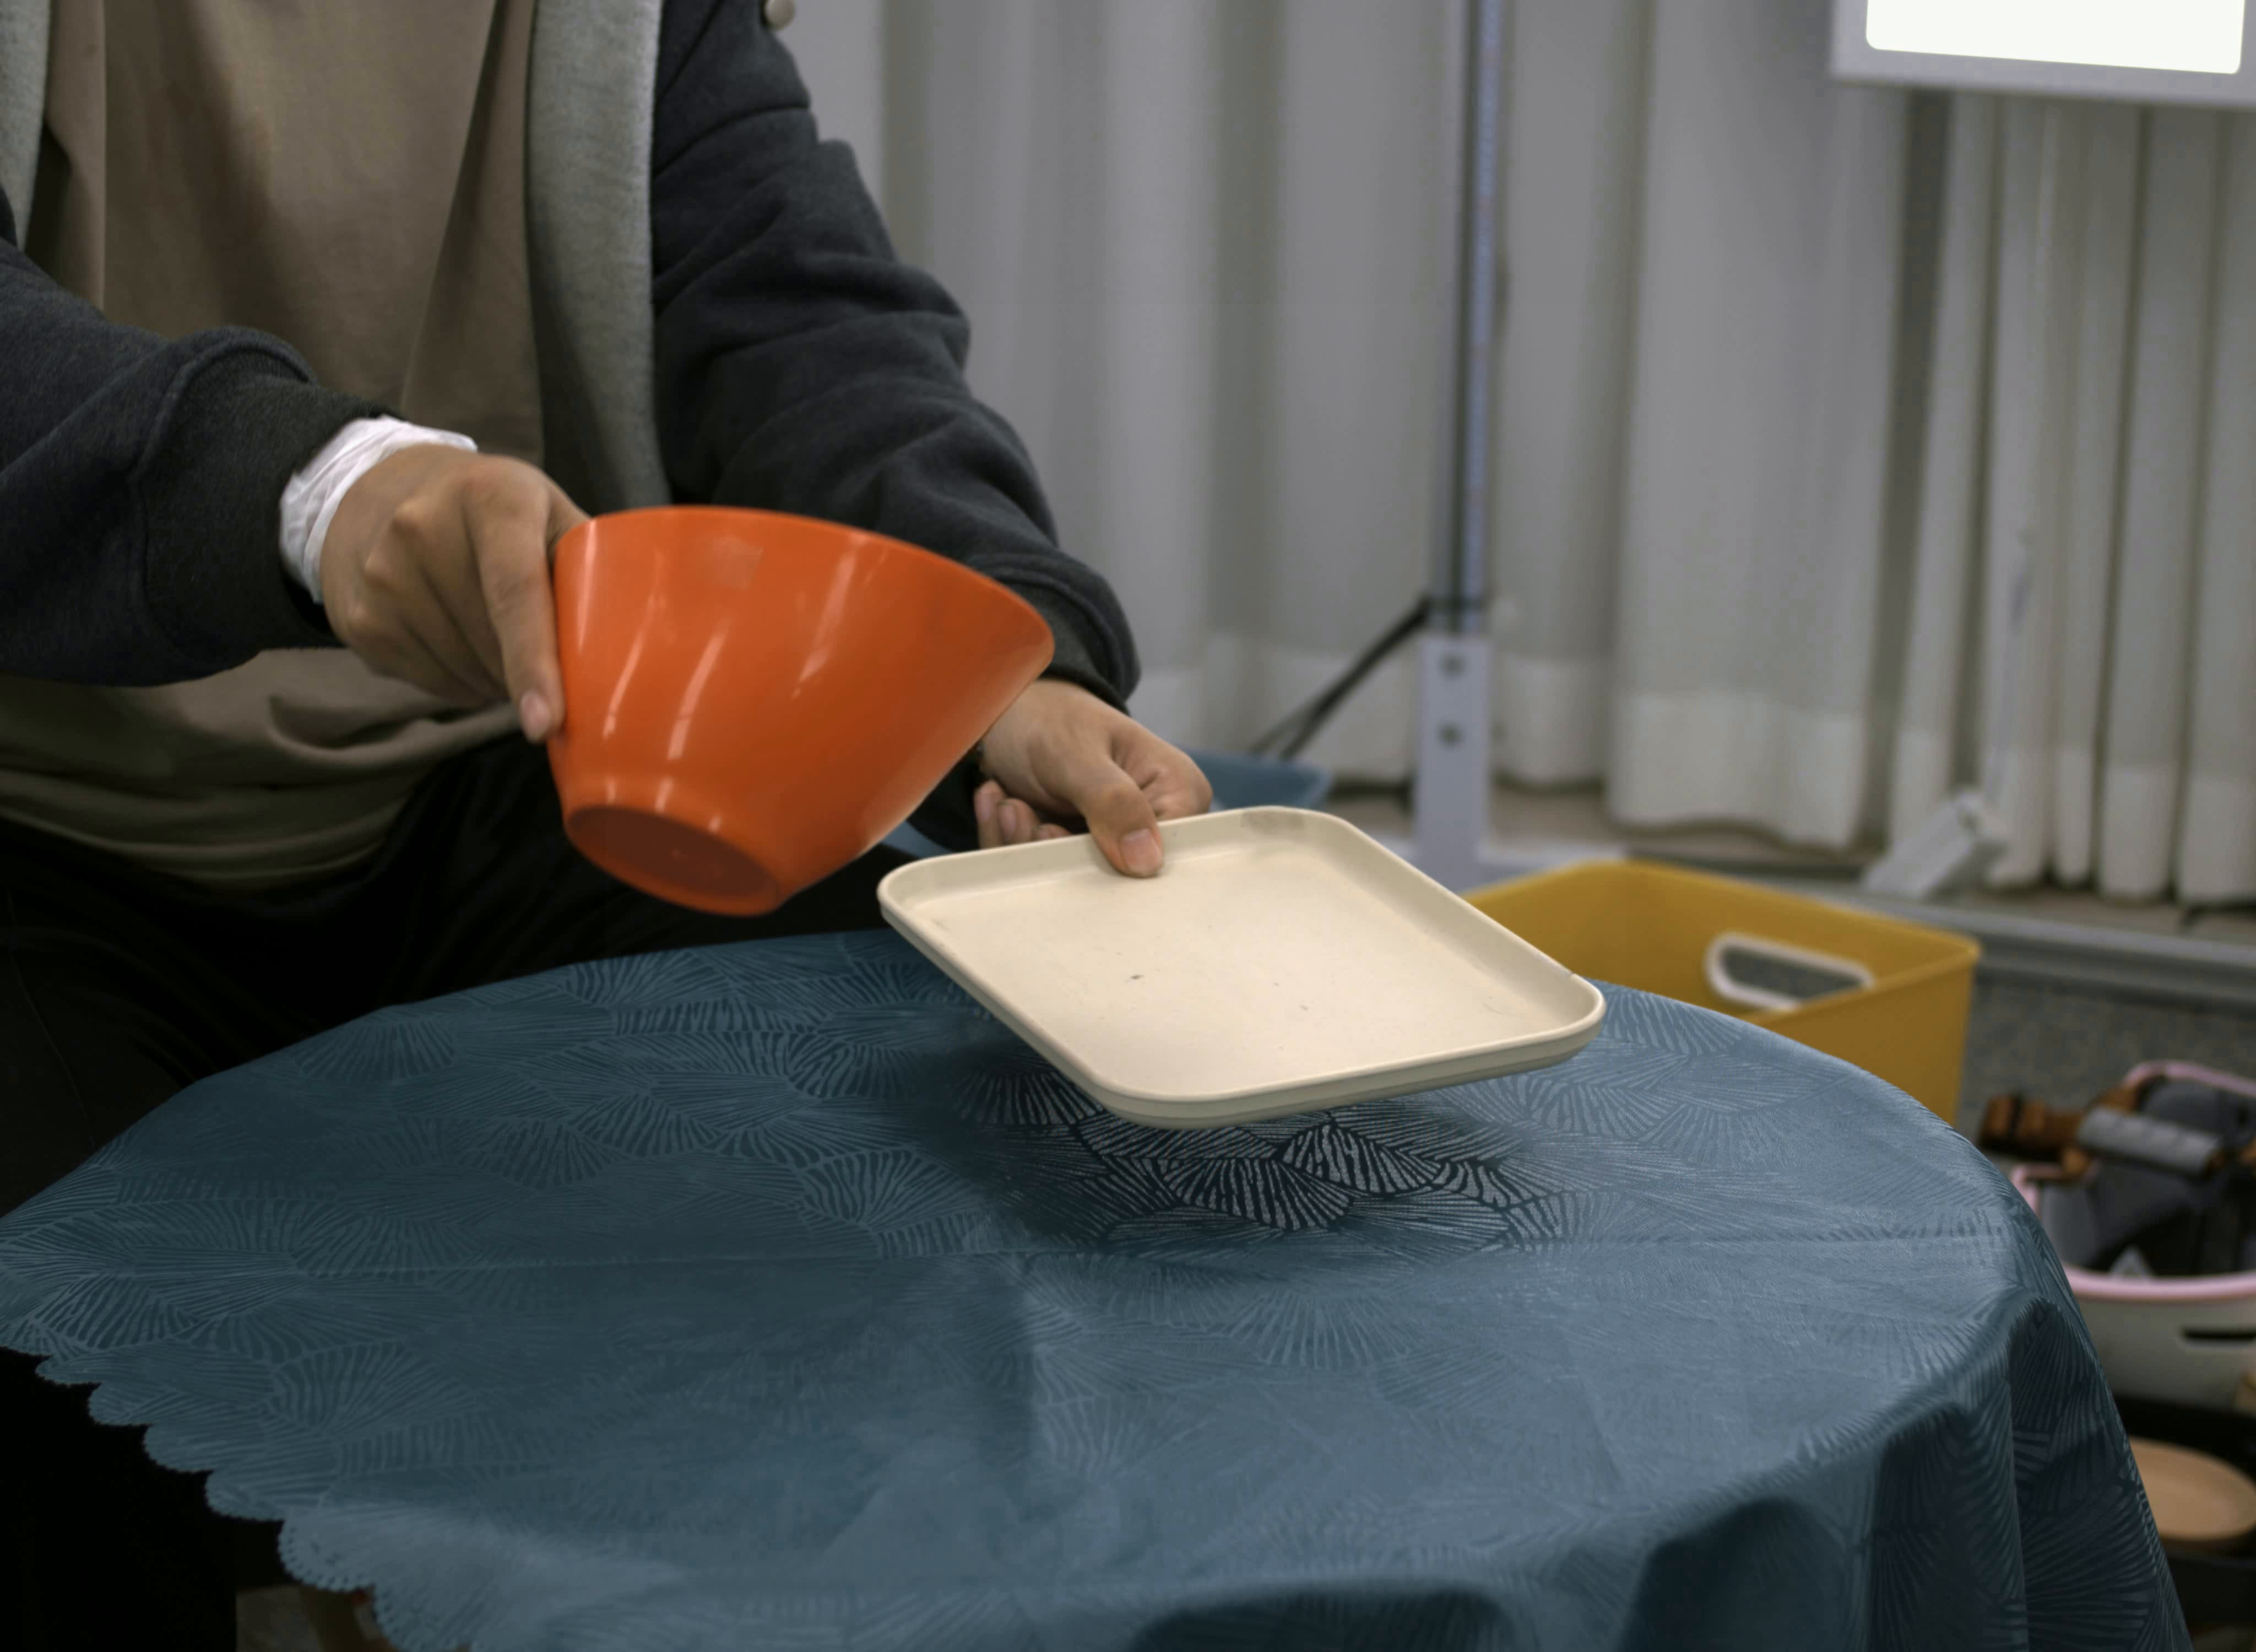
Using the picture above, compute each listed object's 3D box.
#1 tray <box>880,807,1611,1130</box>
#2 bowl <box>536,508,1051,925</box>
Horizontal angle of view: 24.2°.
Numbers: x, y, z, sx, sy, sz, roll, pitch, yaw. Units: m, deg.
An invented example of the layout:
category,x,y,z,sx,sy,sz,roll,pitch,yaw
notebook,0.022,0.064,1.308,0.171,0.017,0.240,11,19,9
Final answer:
category,x,y,z,sx,sy,sz,roll,pitch,yaw
tray,0.034,0.044,1.676,0.172,0.017,0.237,-9,20,-22
bowl,-0.107,-0.027,1.520,0.147,0.104,0.149,16,-21,7
